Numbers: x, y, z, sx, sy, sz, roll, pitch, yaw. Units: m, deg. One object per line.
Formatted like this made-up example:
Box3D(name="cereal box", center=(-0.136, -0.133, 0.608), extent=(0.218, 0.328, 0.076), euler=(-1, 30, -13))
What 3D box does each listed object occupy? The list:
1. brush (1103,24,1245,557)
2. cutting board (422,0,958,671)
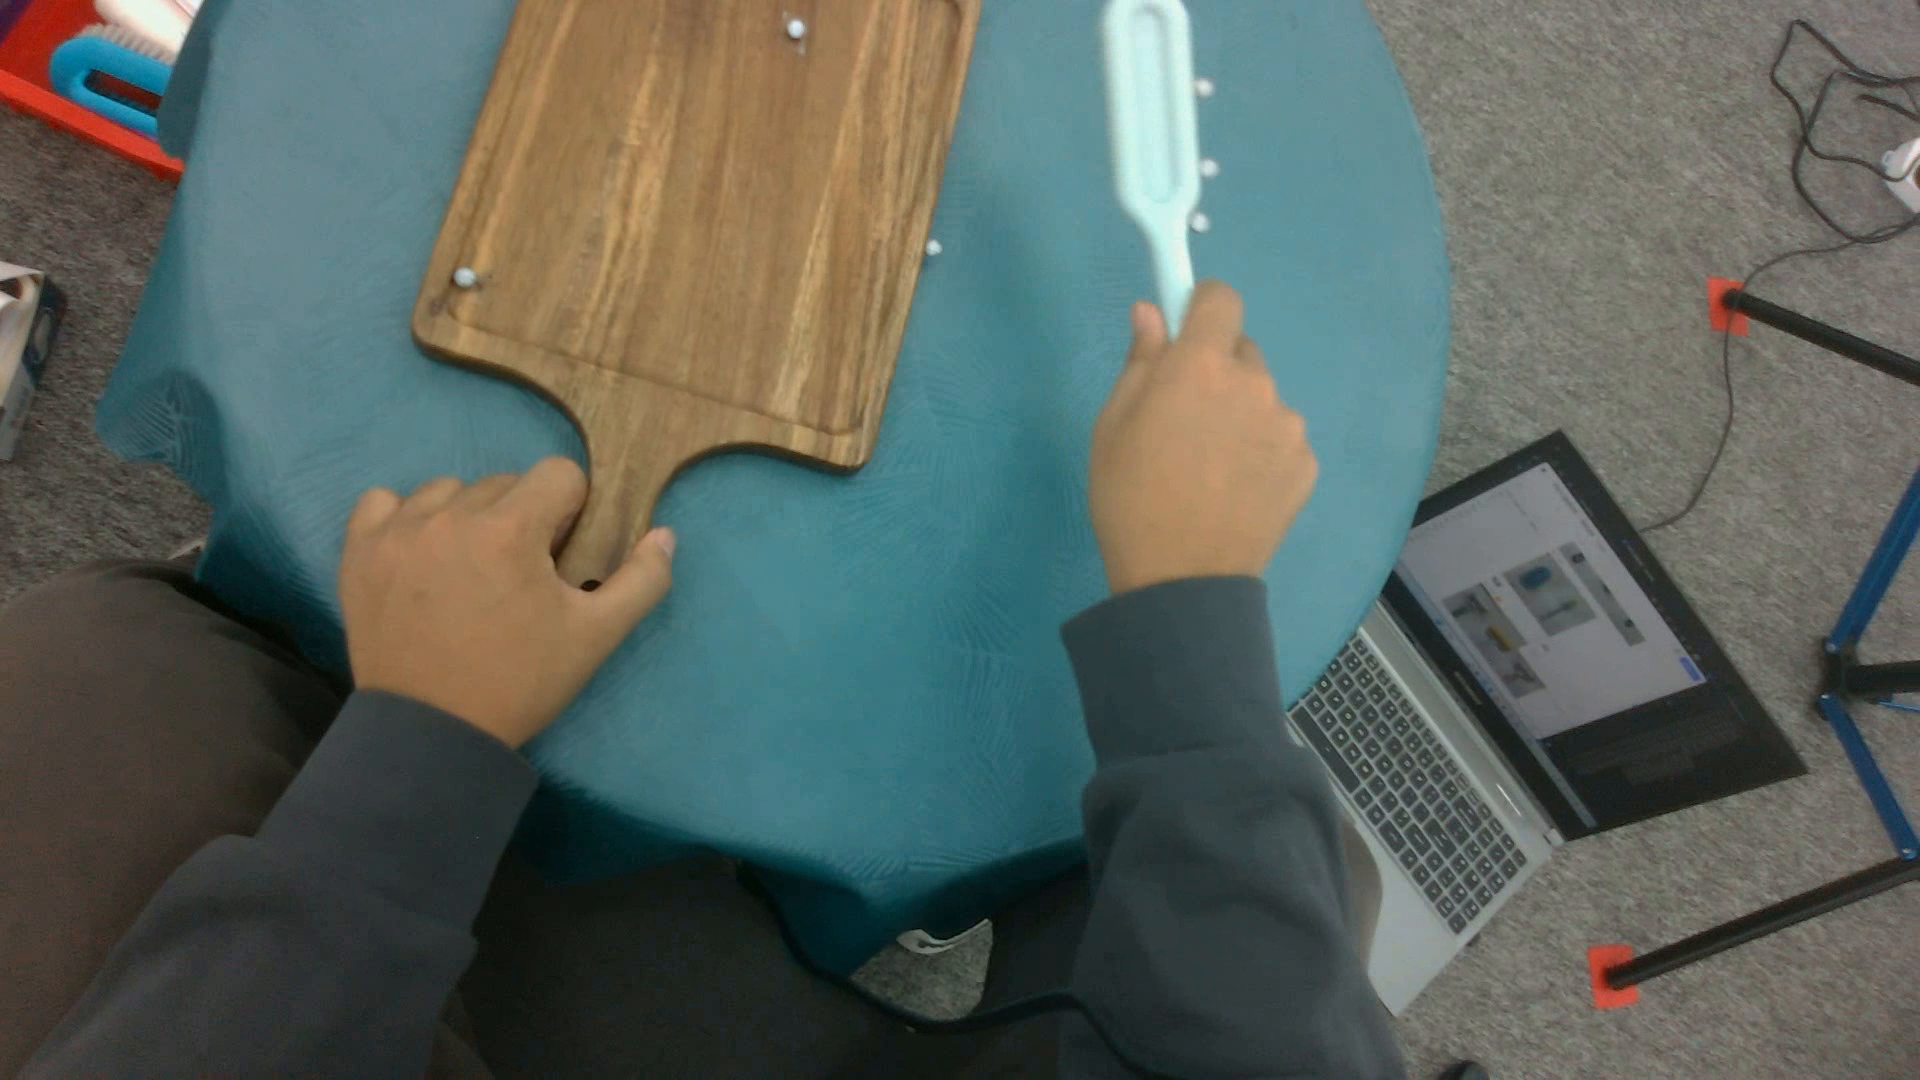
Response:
Box3D(name="brush", center=(0.095, -0.106, 0.598), extent=(0.038, 0.049, 0.229), euler=(-10, 86, -4))
Box3D(name="cutting board", center=(-0.123, -0.115, 0.621), extent=(0.201, 0.023, 0.353), euler=(14, 76, -13))
